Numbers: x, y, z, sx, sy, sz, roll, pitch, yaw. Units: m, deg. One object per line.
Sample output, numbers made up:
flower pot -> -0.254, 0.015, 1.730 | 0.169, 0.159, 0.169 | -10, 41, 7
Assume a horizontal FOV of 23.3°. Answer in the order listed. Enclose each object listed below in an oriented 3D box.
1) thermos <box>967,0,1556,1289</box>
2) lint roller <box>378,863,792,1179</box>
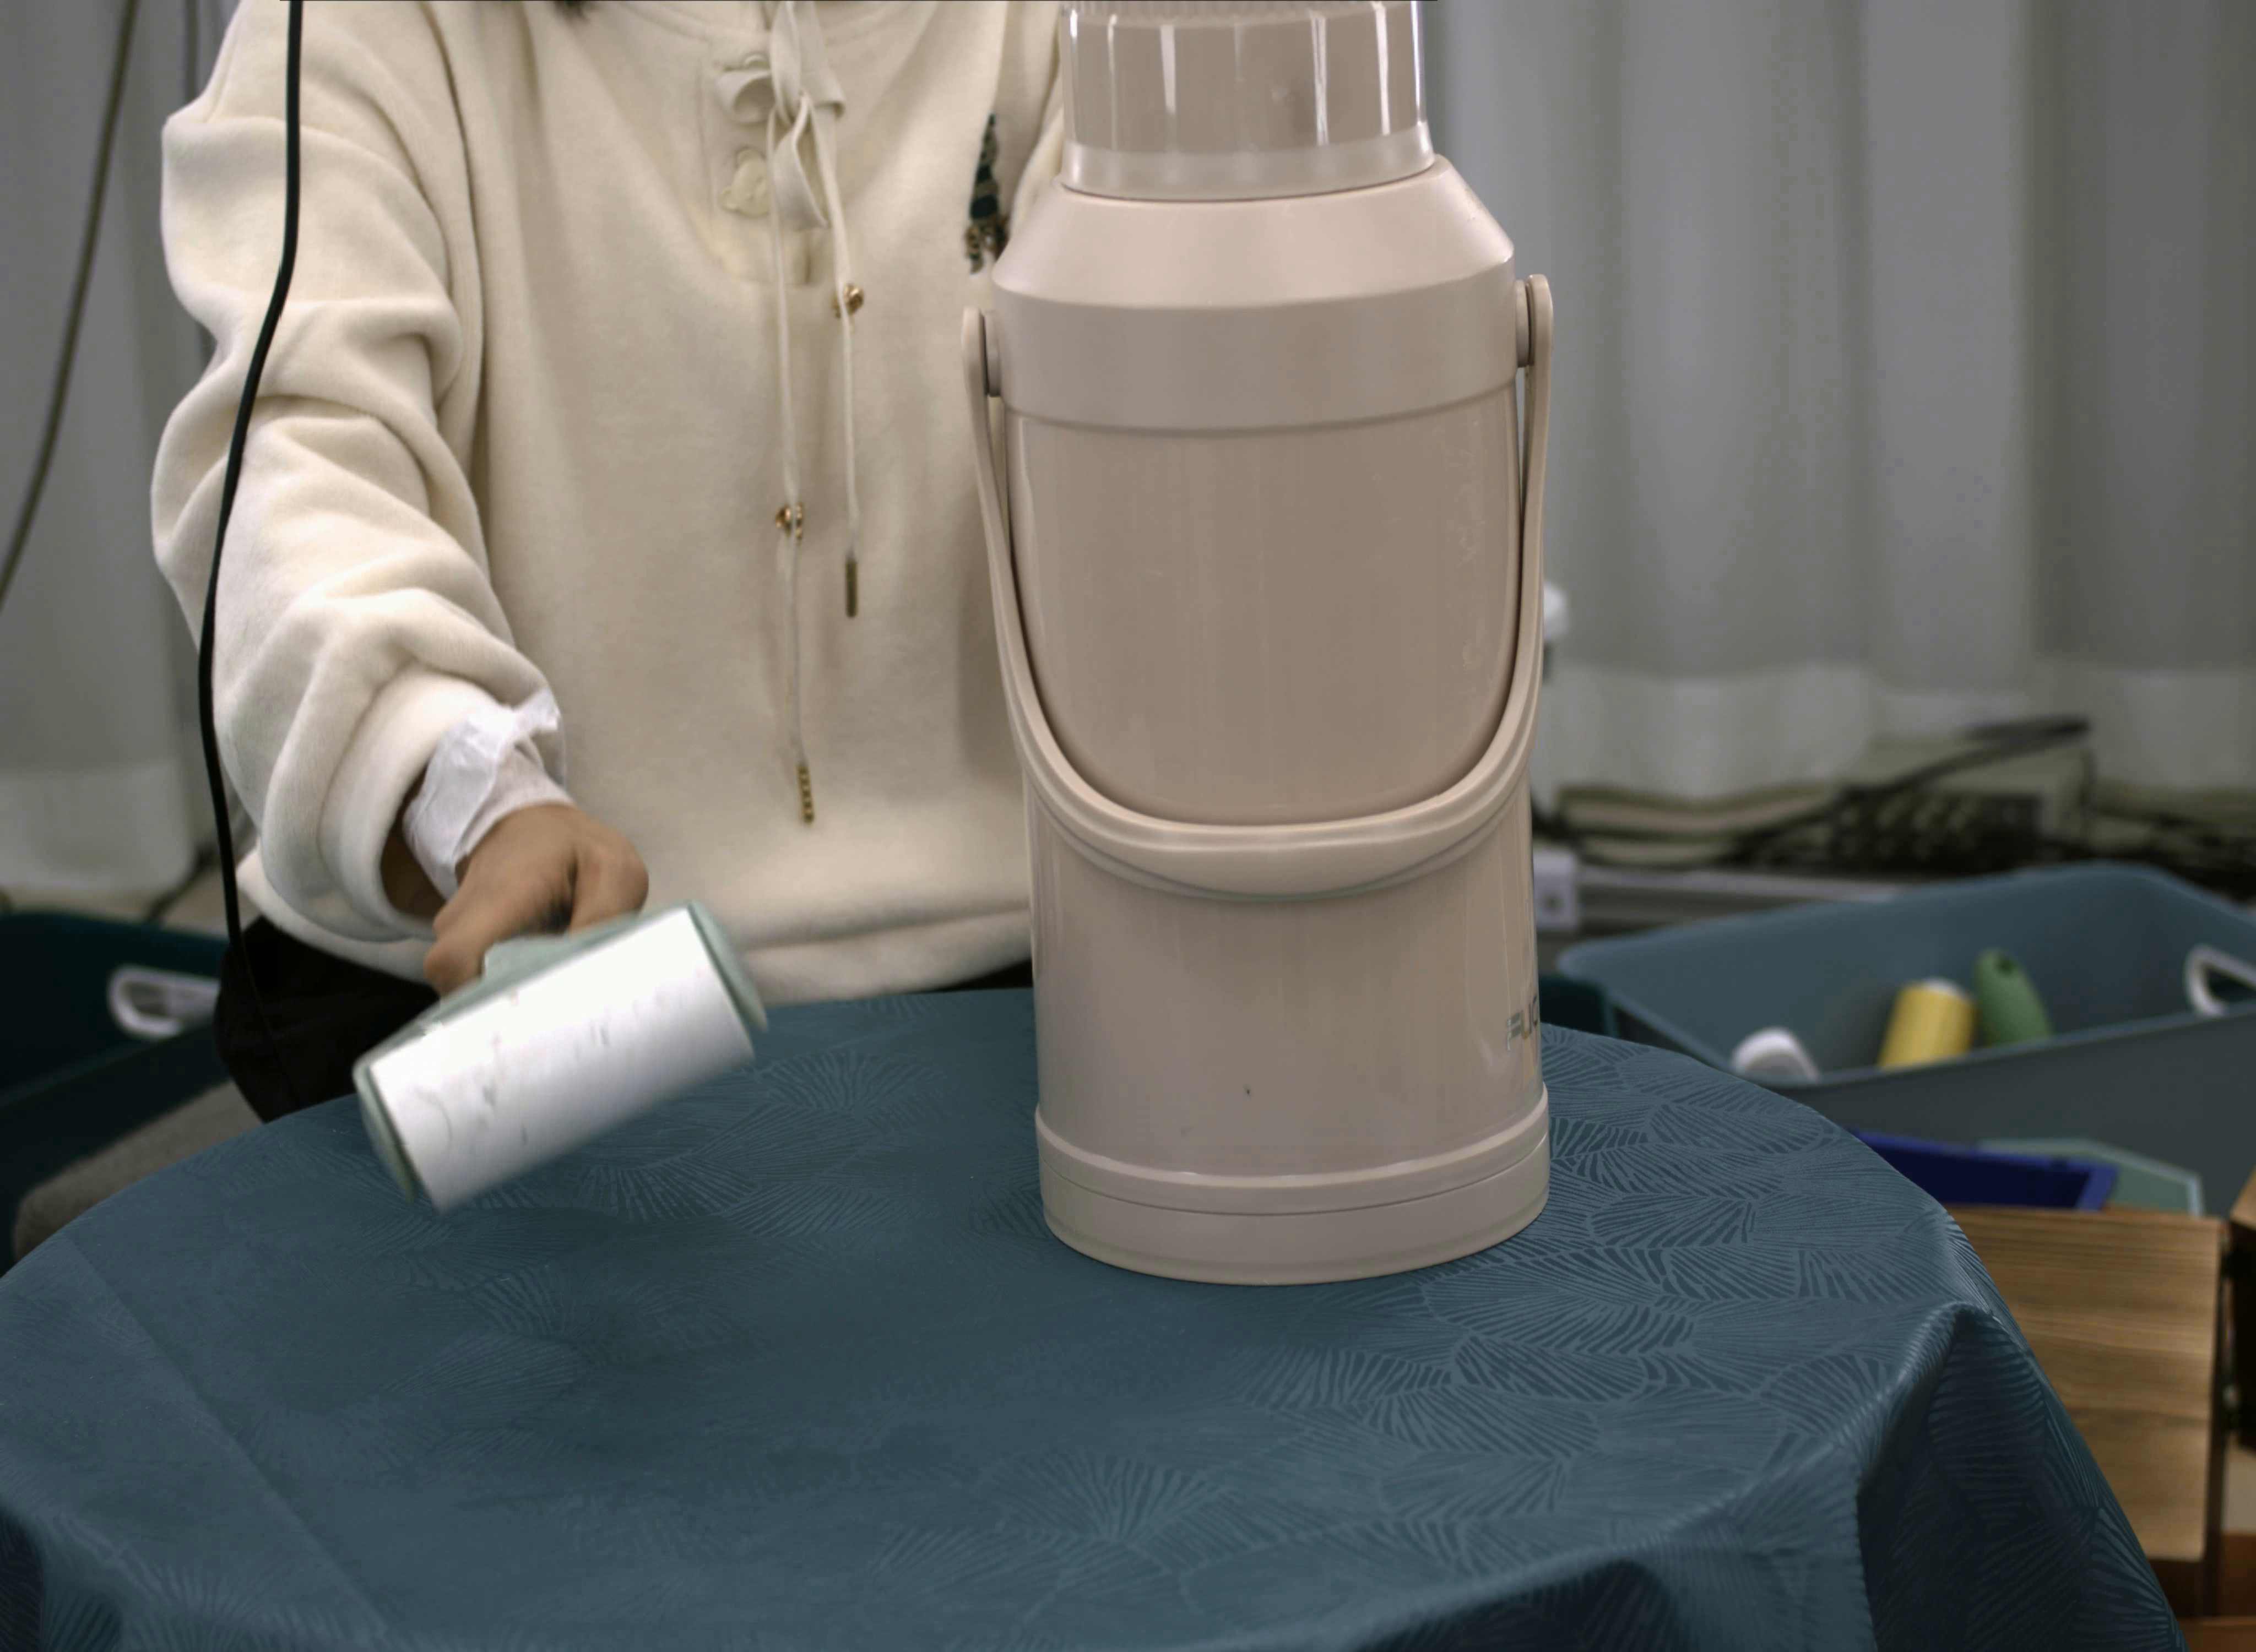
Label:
thermos -> 0.043, -0.078, 1.665 | 0.175, 0.405, 0.208 | -3, 13, 0
lint roller -> -0.165, 0.046, 1.616 | 0.116, 0.048, 0.198 | -29, 12, -4
